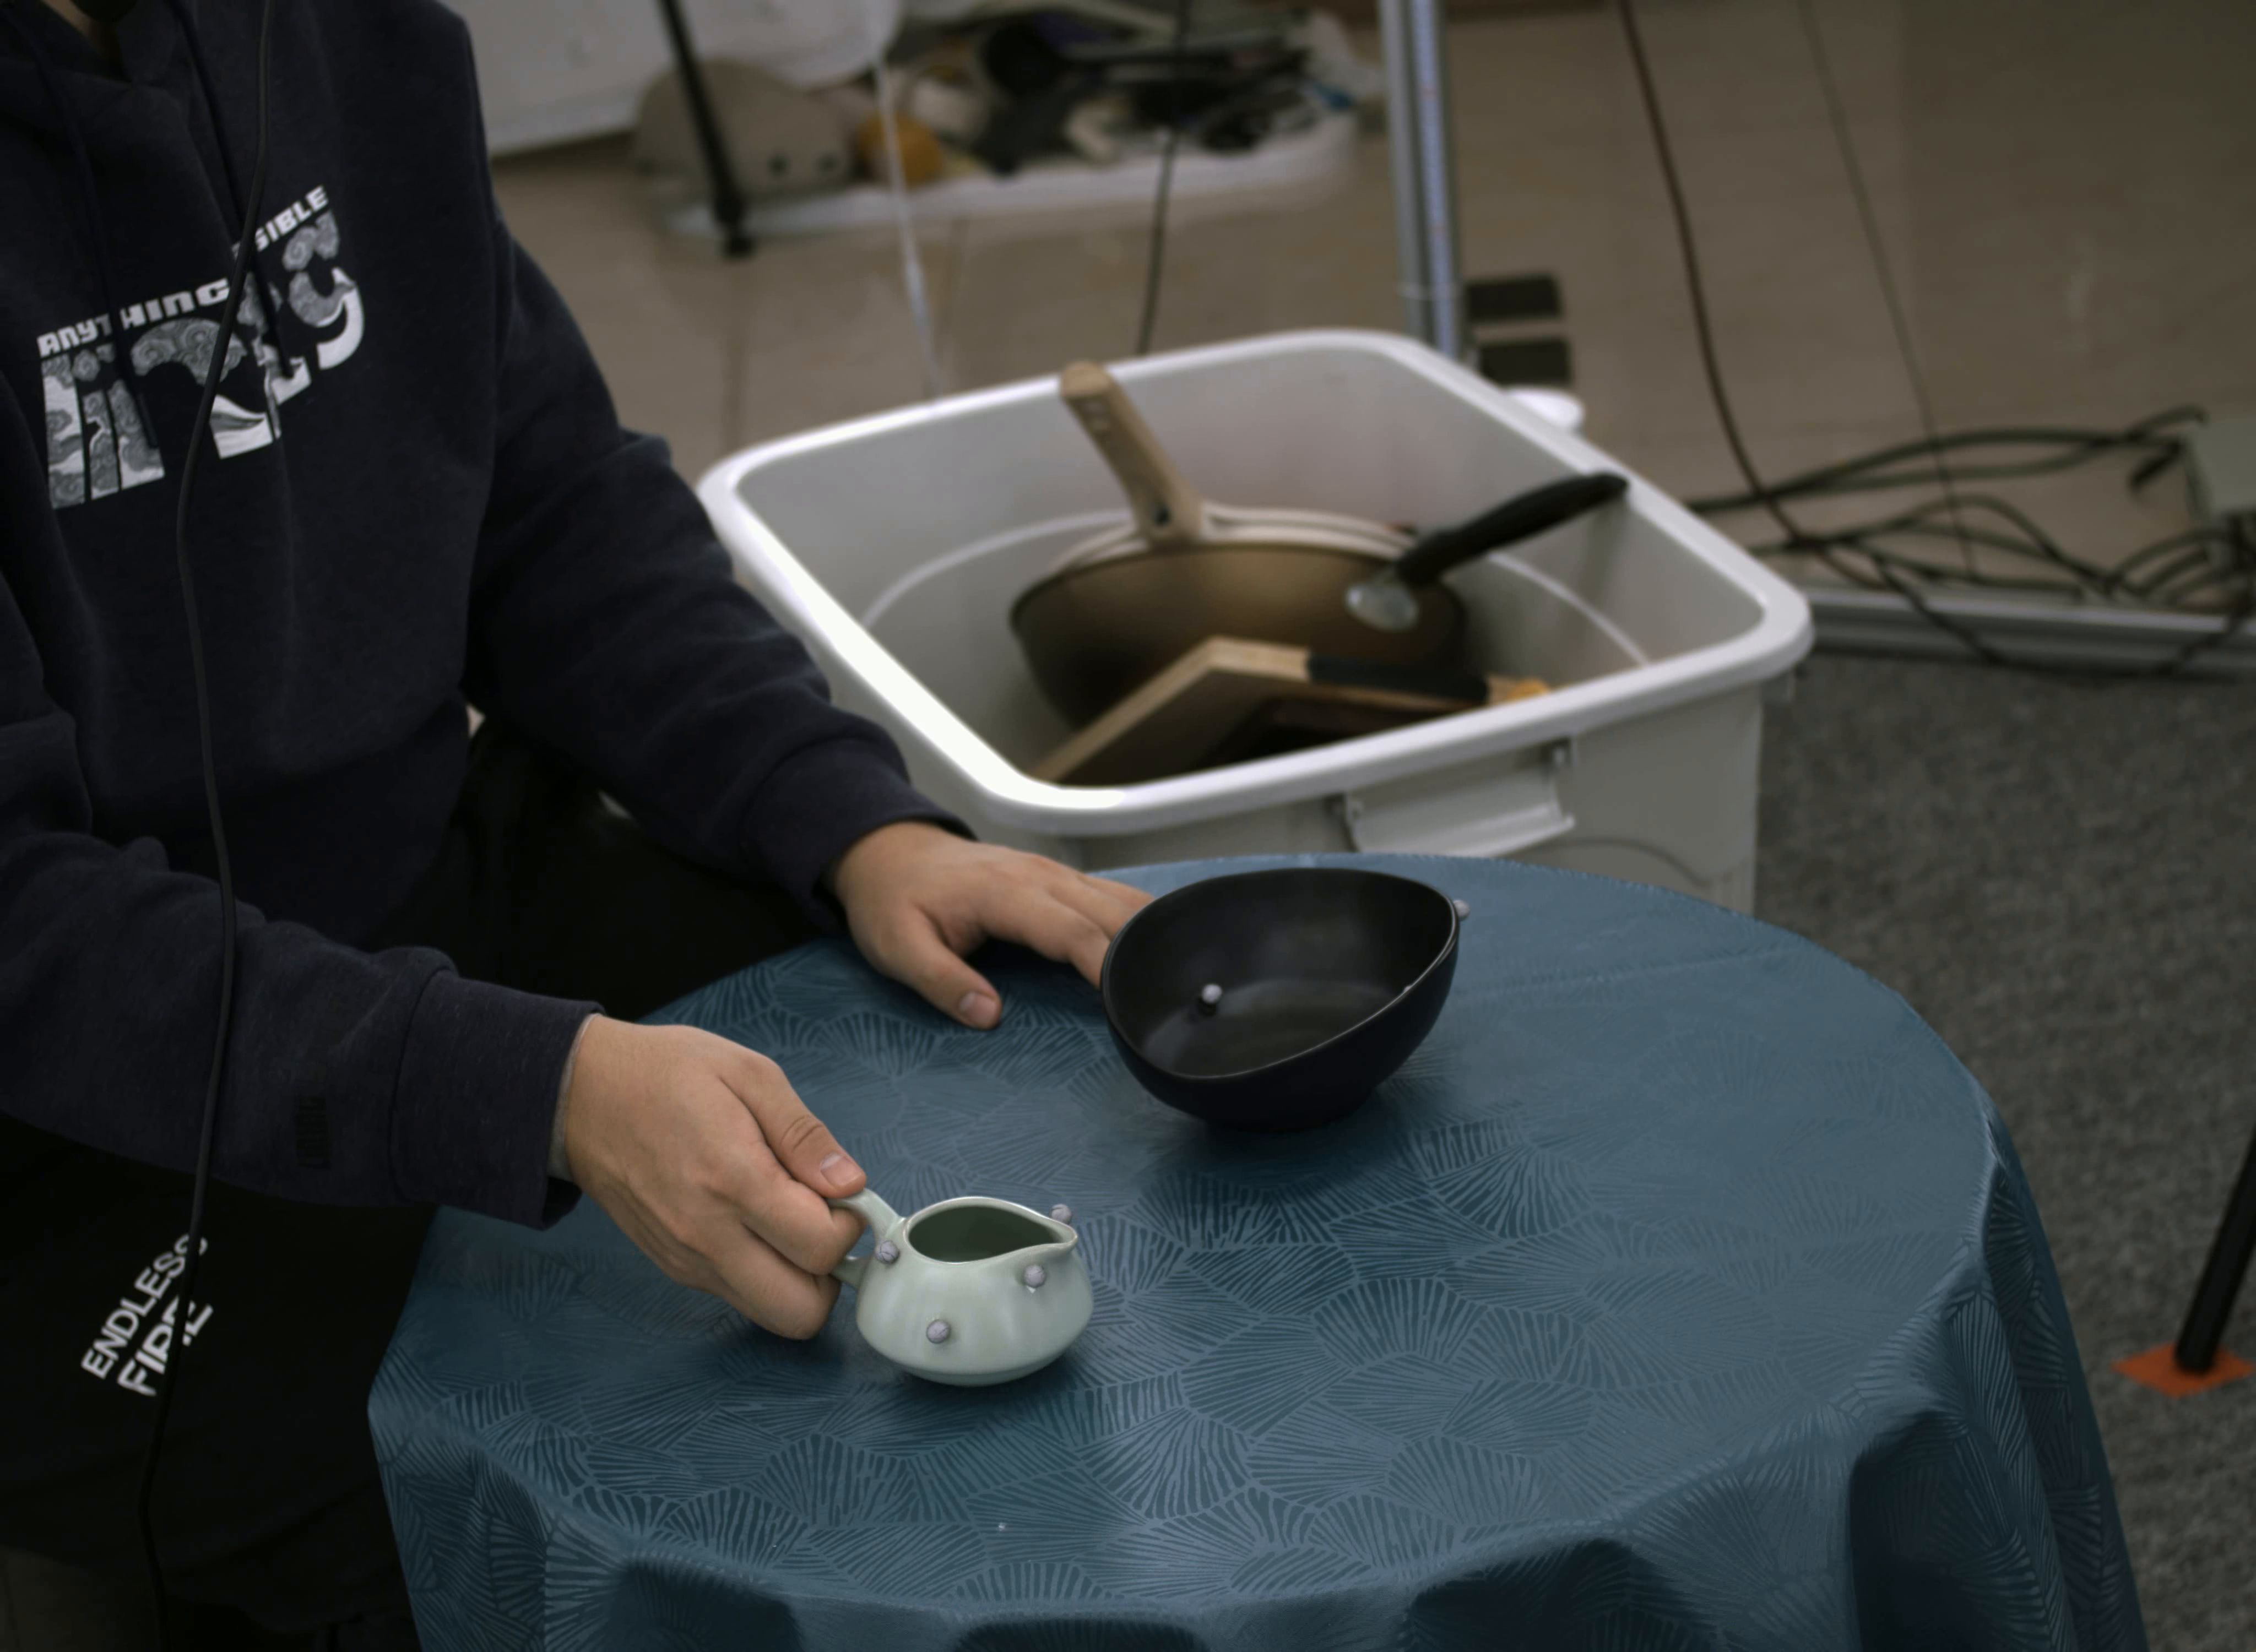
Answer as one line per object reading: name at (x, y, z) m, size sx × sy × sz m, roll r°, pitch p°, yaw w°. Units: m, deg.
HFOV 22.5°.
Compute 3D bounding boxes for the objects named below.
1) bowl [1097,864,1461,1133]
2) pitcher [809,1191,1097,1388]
bowl at (0.061, 0.075, 2.198) m, size 0.137 × 0.068 × 0.168 m, roll 3°, pitch 27°, yaw 22°
pitcher at (-0.065, 0.164, 2.037) m, size 0.107 × 0.061 × 0.085 m, roll 7°, pitch 27°, yaw 21°
